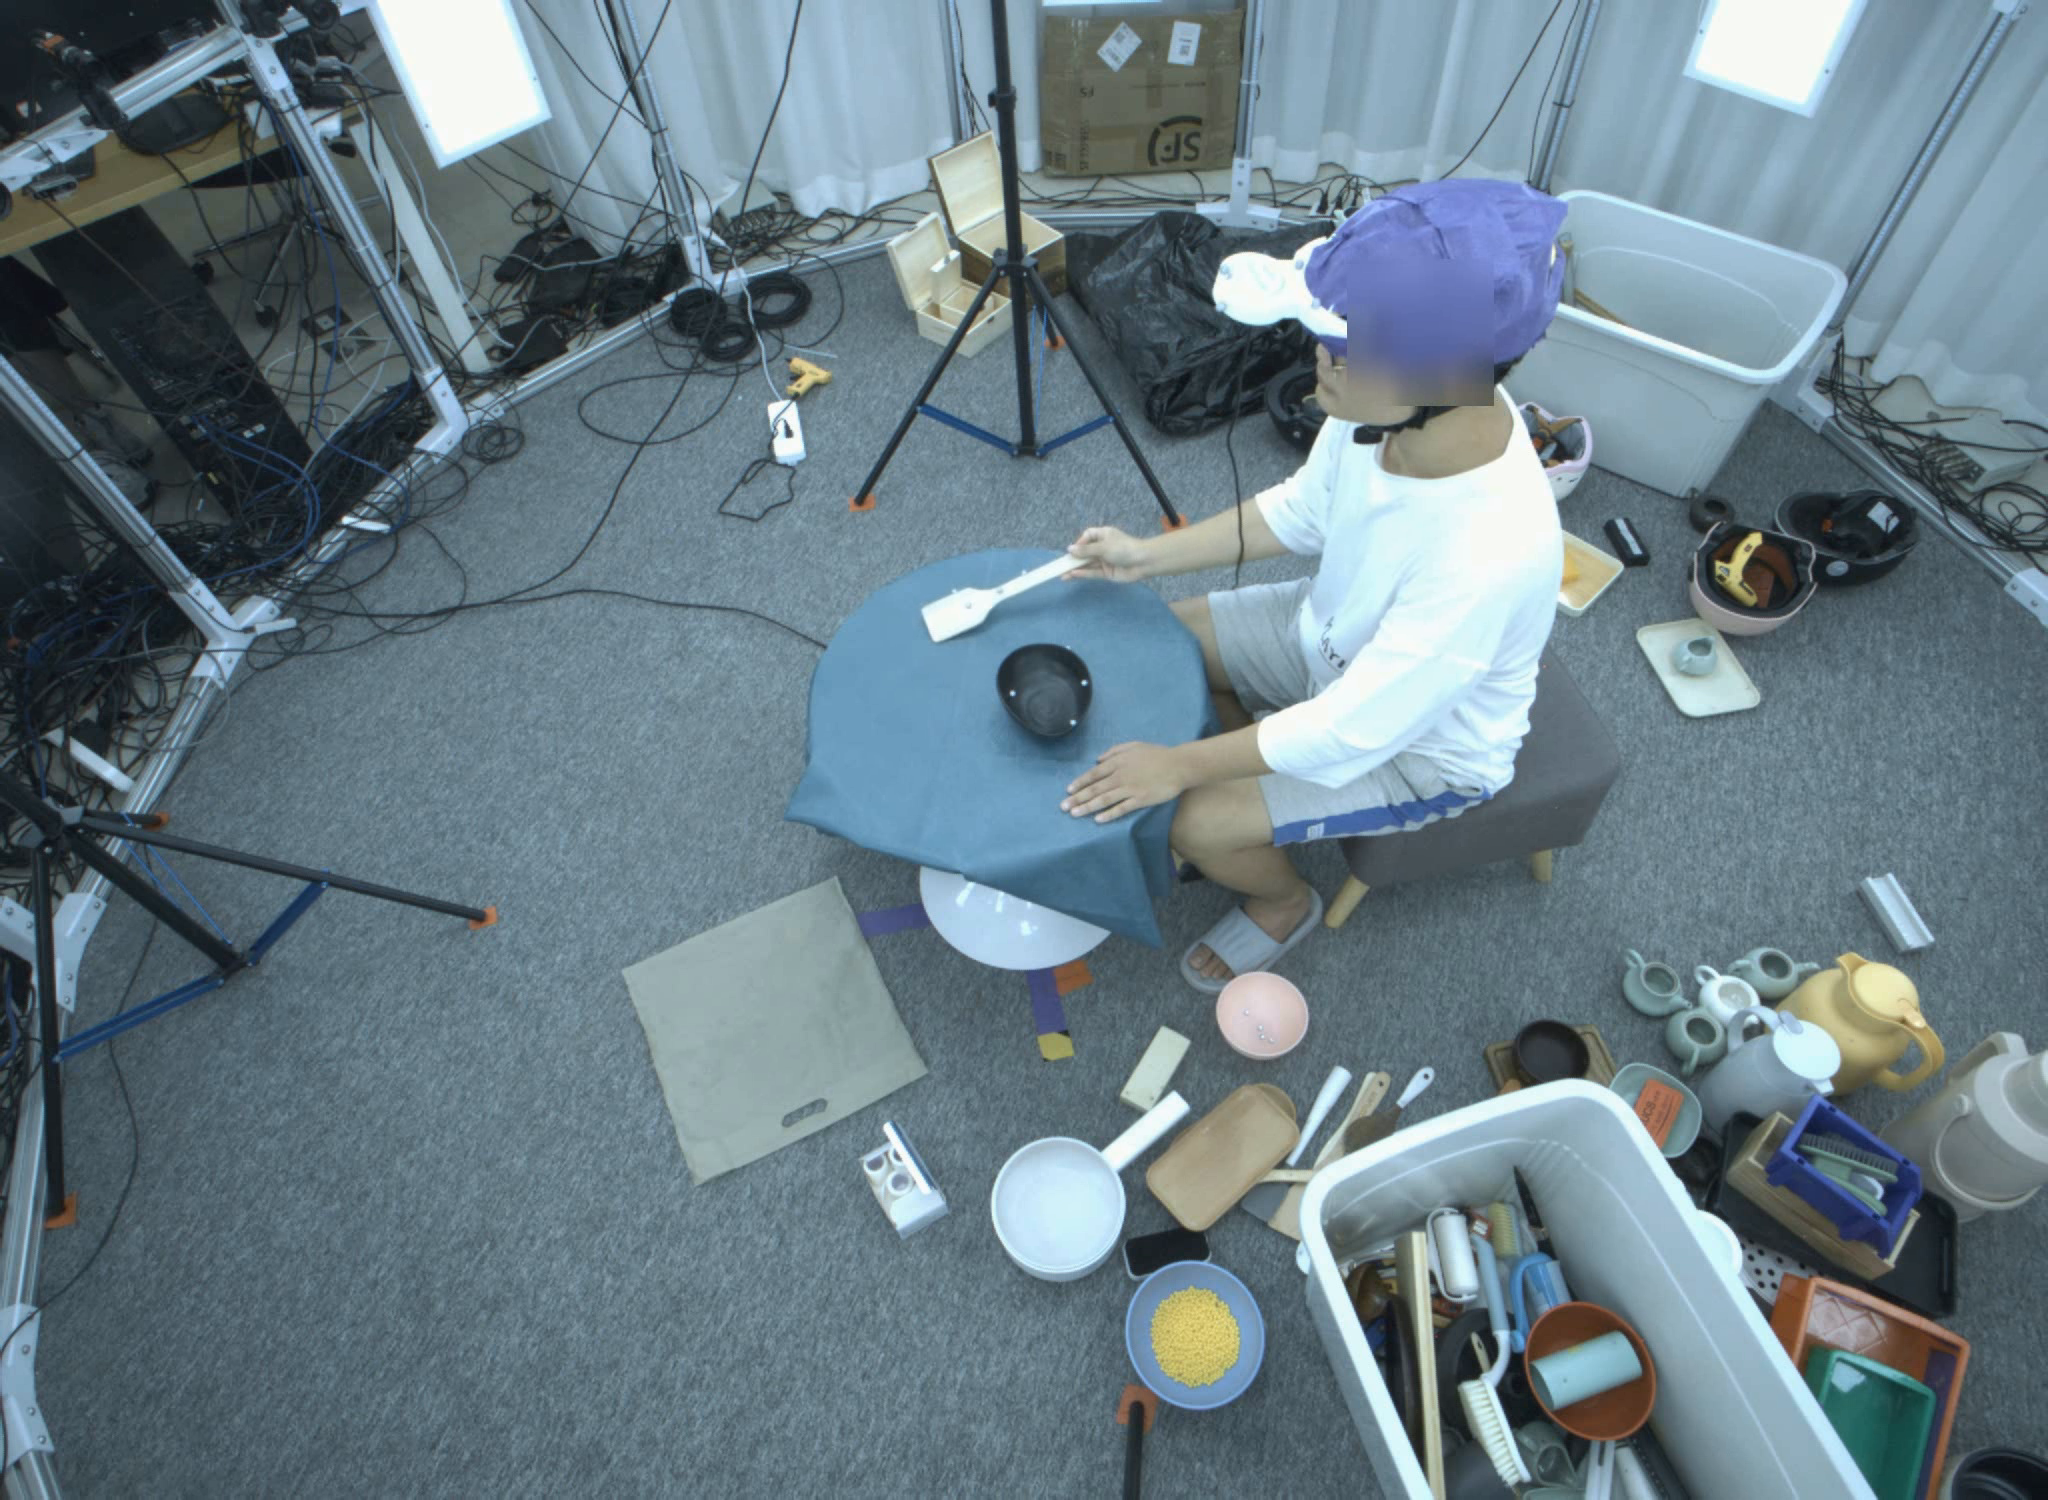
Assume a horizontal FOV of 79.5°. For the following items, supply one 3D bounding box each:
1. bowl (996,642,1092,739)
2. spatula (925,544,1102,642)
[{"bbox_3d":[0.031,-0.079,1.801,0.138,0.067,0.167,-16,58,-10],"label":"bowl"},{"bbox_3d":[-0.015,-0.255,1.919,0.293,0.011,0.071,-24,66,1],"label":"spatula"}]
